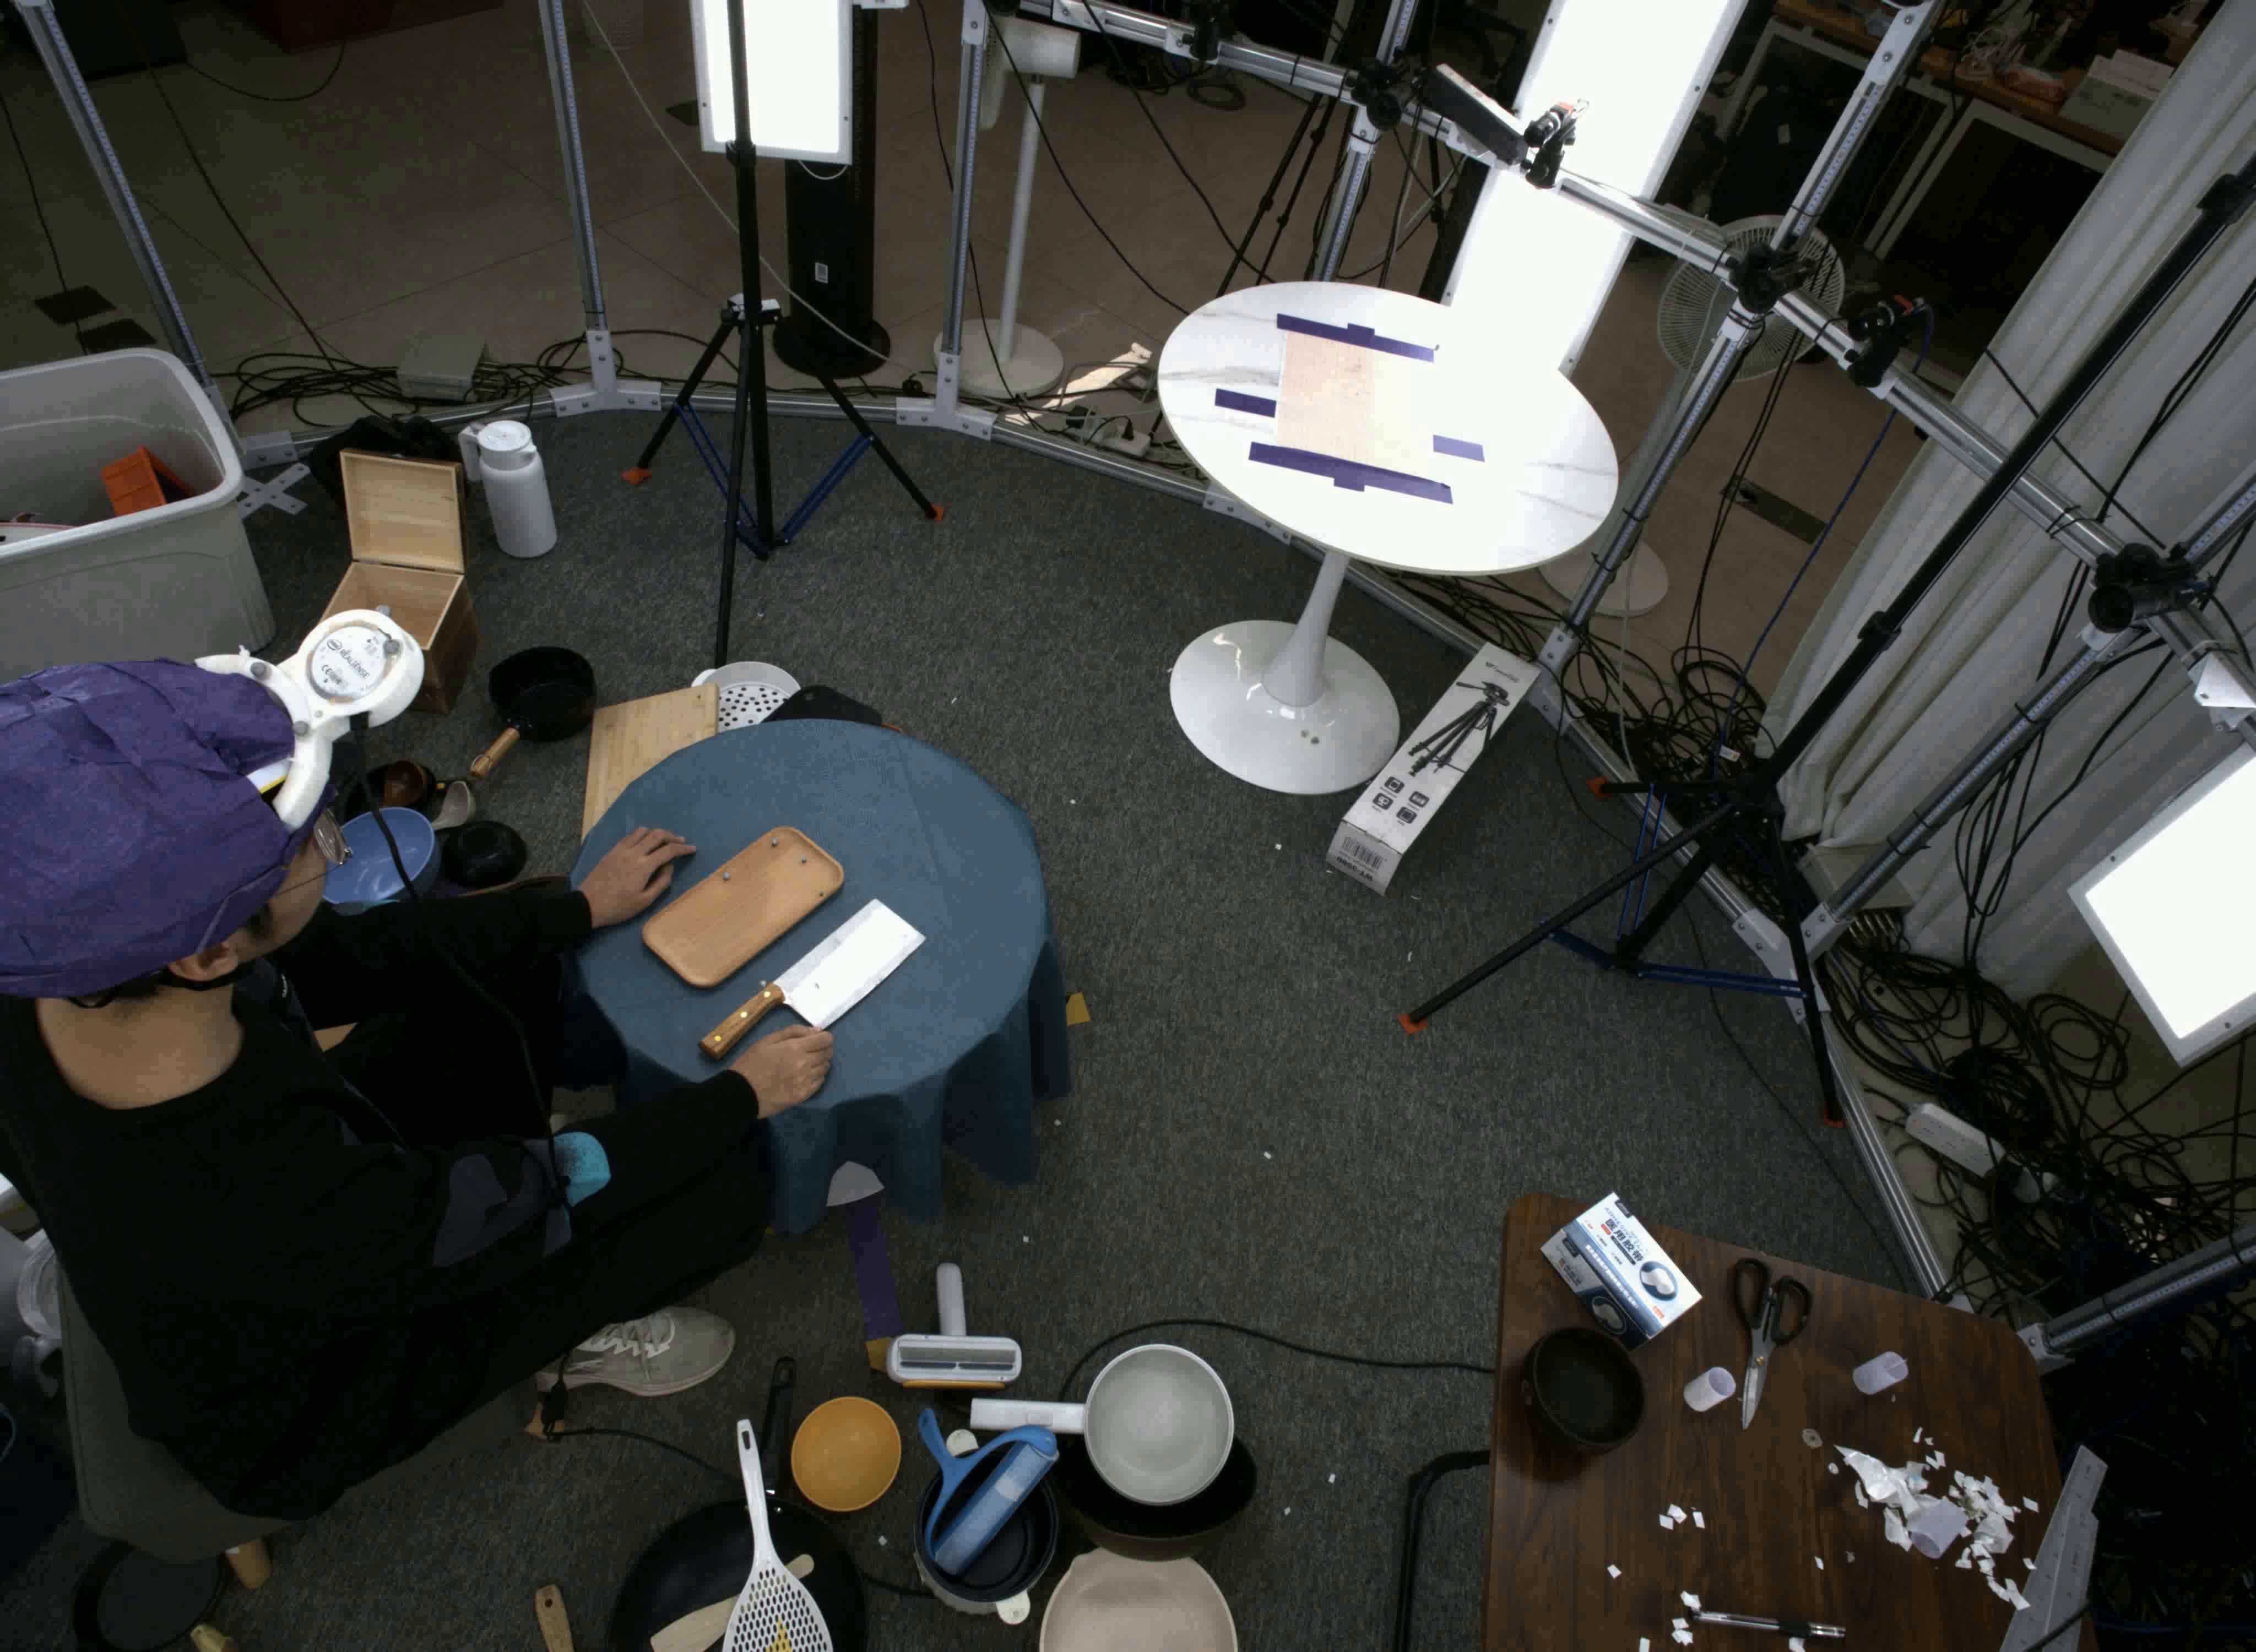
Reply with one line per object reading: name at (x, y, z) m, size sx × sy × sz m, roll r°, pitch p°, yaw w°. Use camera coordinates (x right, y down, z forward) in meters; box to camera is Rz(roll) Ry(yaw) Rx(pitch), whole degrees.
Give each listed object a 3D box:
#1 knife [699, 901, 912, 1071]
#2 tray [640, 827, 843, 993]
knife at (-0.379, 0.198, 1.567) m, size 0.091 × 0.021 × 0.305 m, roll 37°, pitch 51°, yaw 12°
tray at (-0.480, 0.099, 1.614) m, size 0.127 × 0.023 × 0.251 m, roll 37°, pitch 54°, yaw 16°
